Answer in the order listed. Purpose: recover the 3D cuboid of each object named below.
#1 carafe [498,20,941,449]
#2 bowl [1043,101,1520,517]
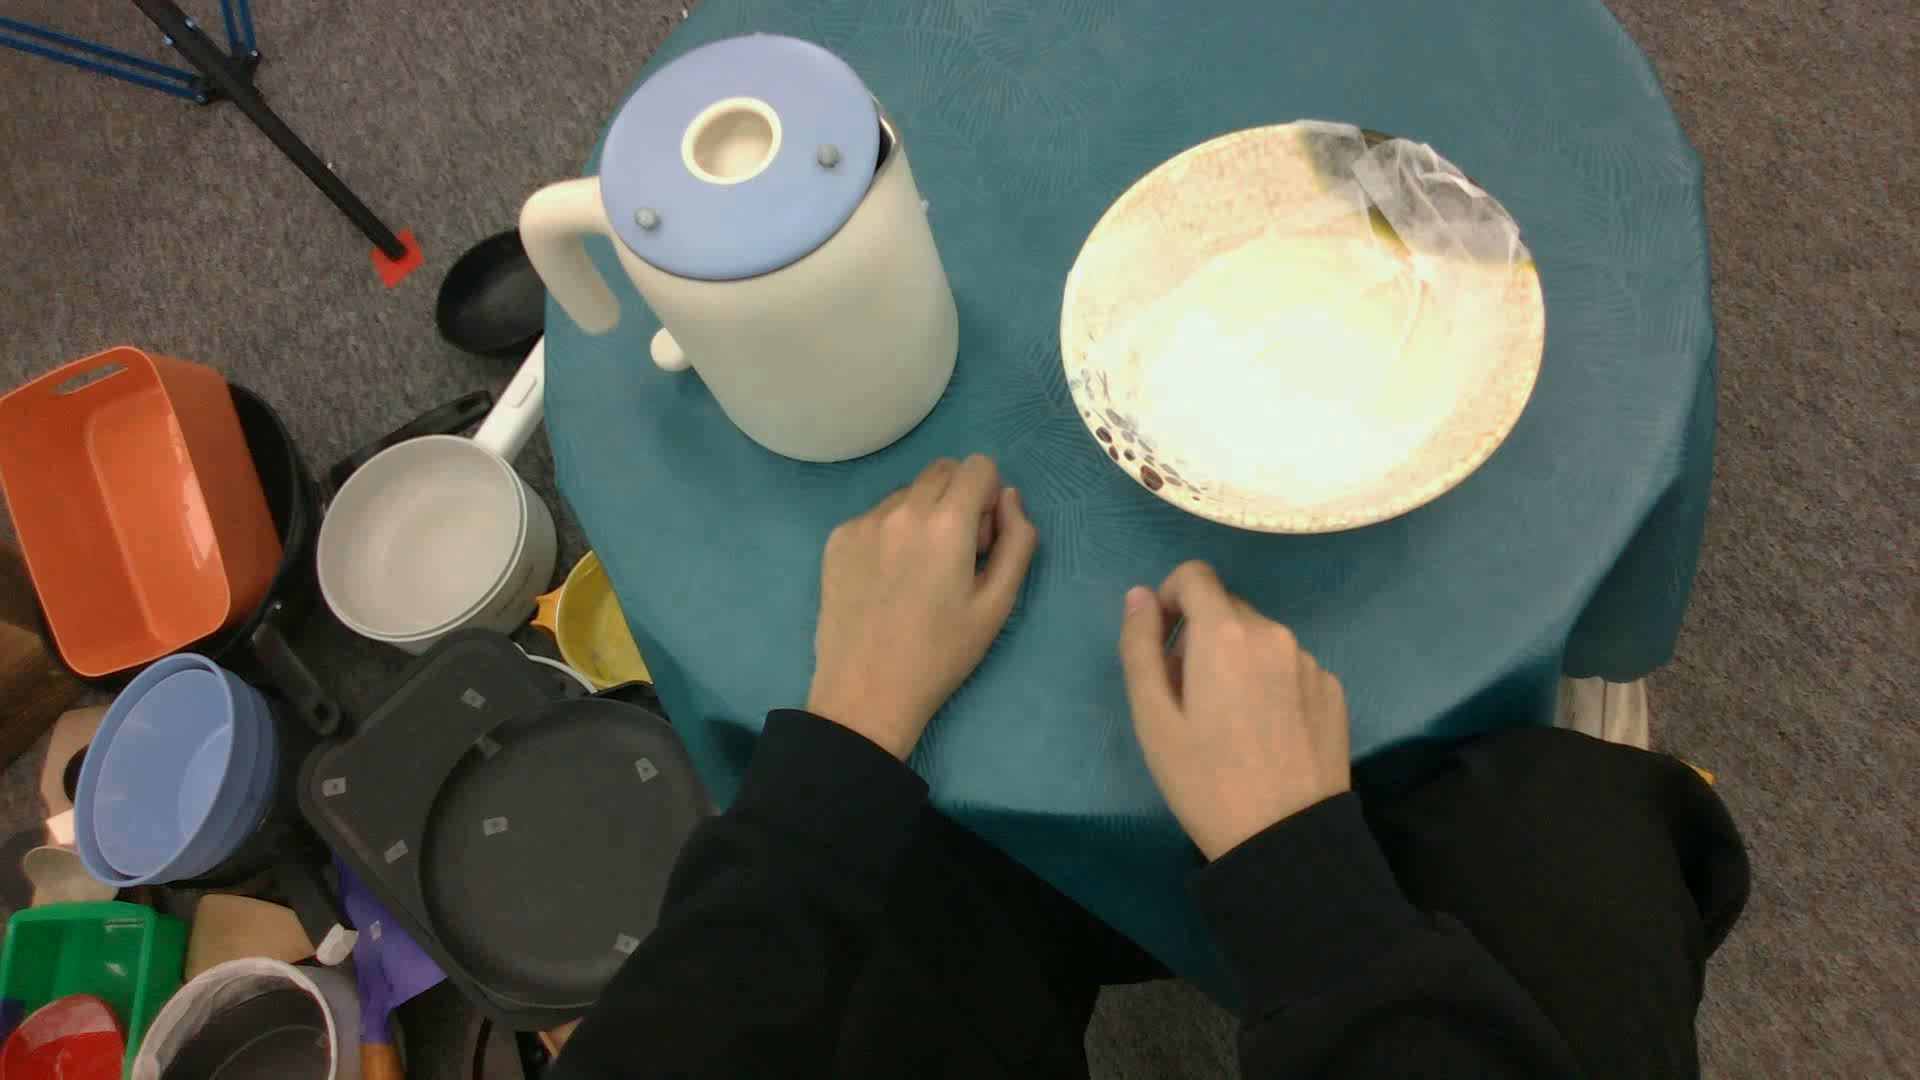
[{"bbox_3d":[-0.110,-0.132,0.641,0.191,0.182,0.132,-6,66,10],"label":"carafe"},{"bbox_3d":[0.144,-0.095,0.636,0.204,0.078,0.204,-3,70,9],"label":"bowl"}]
